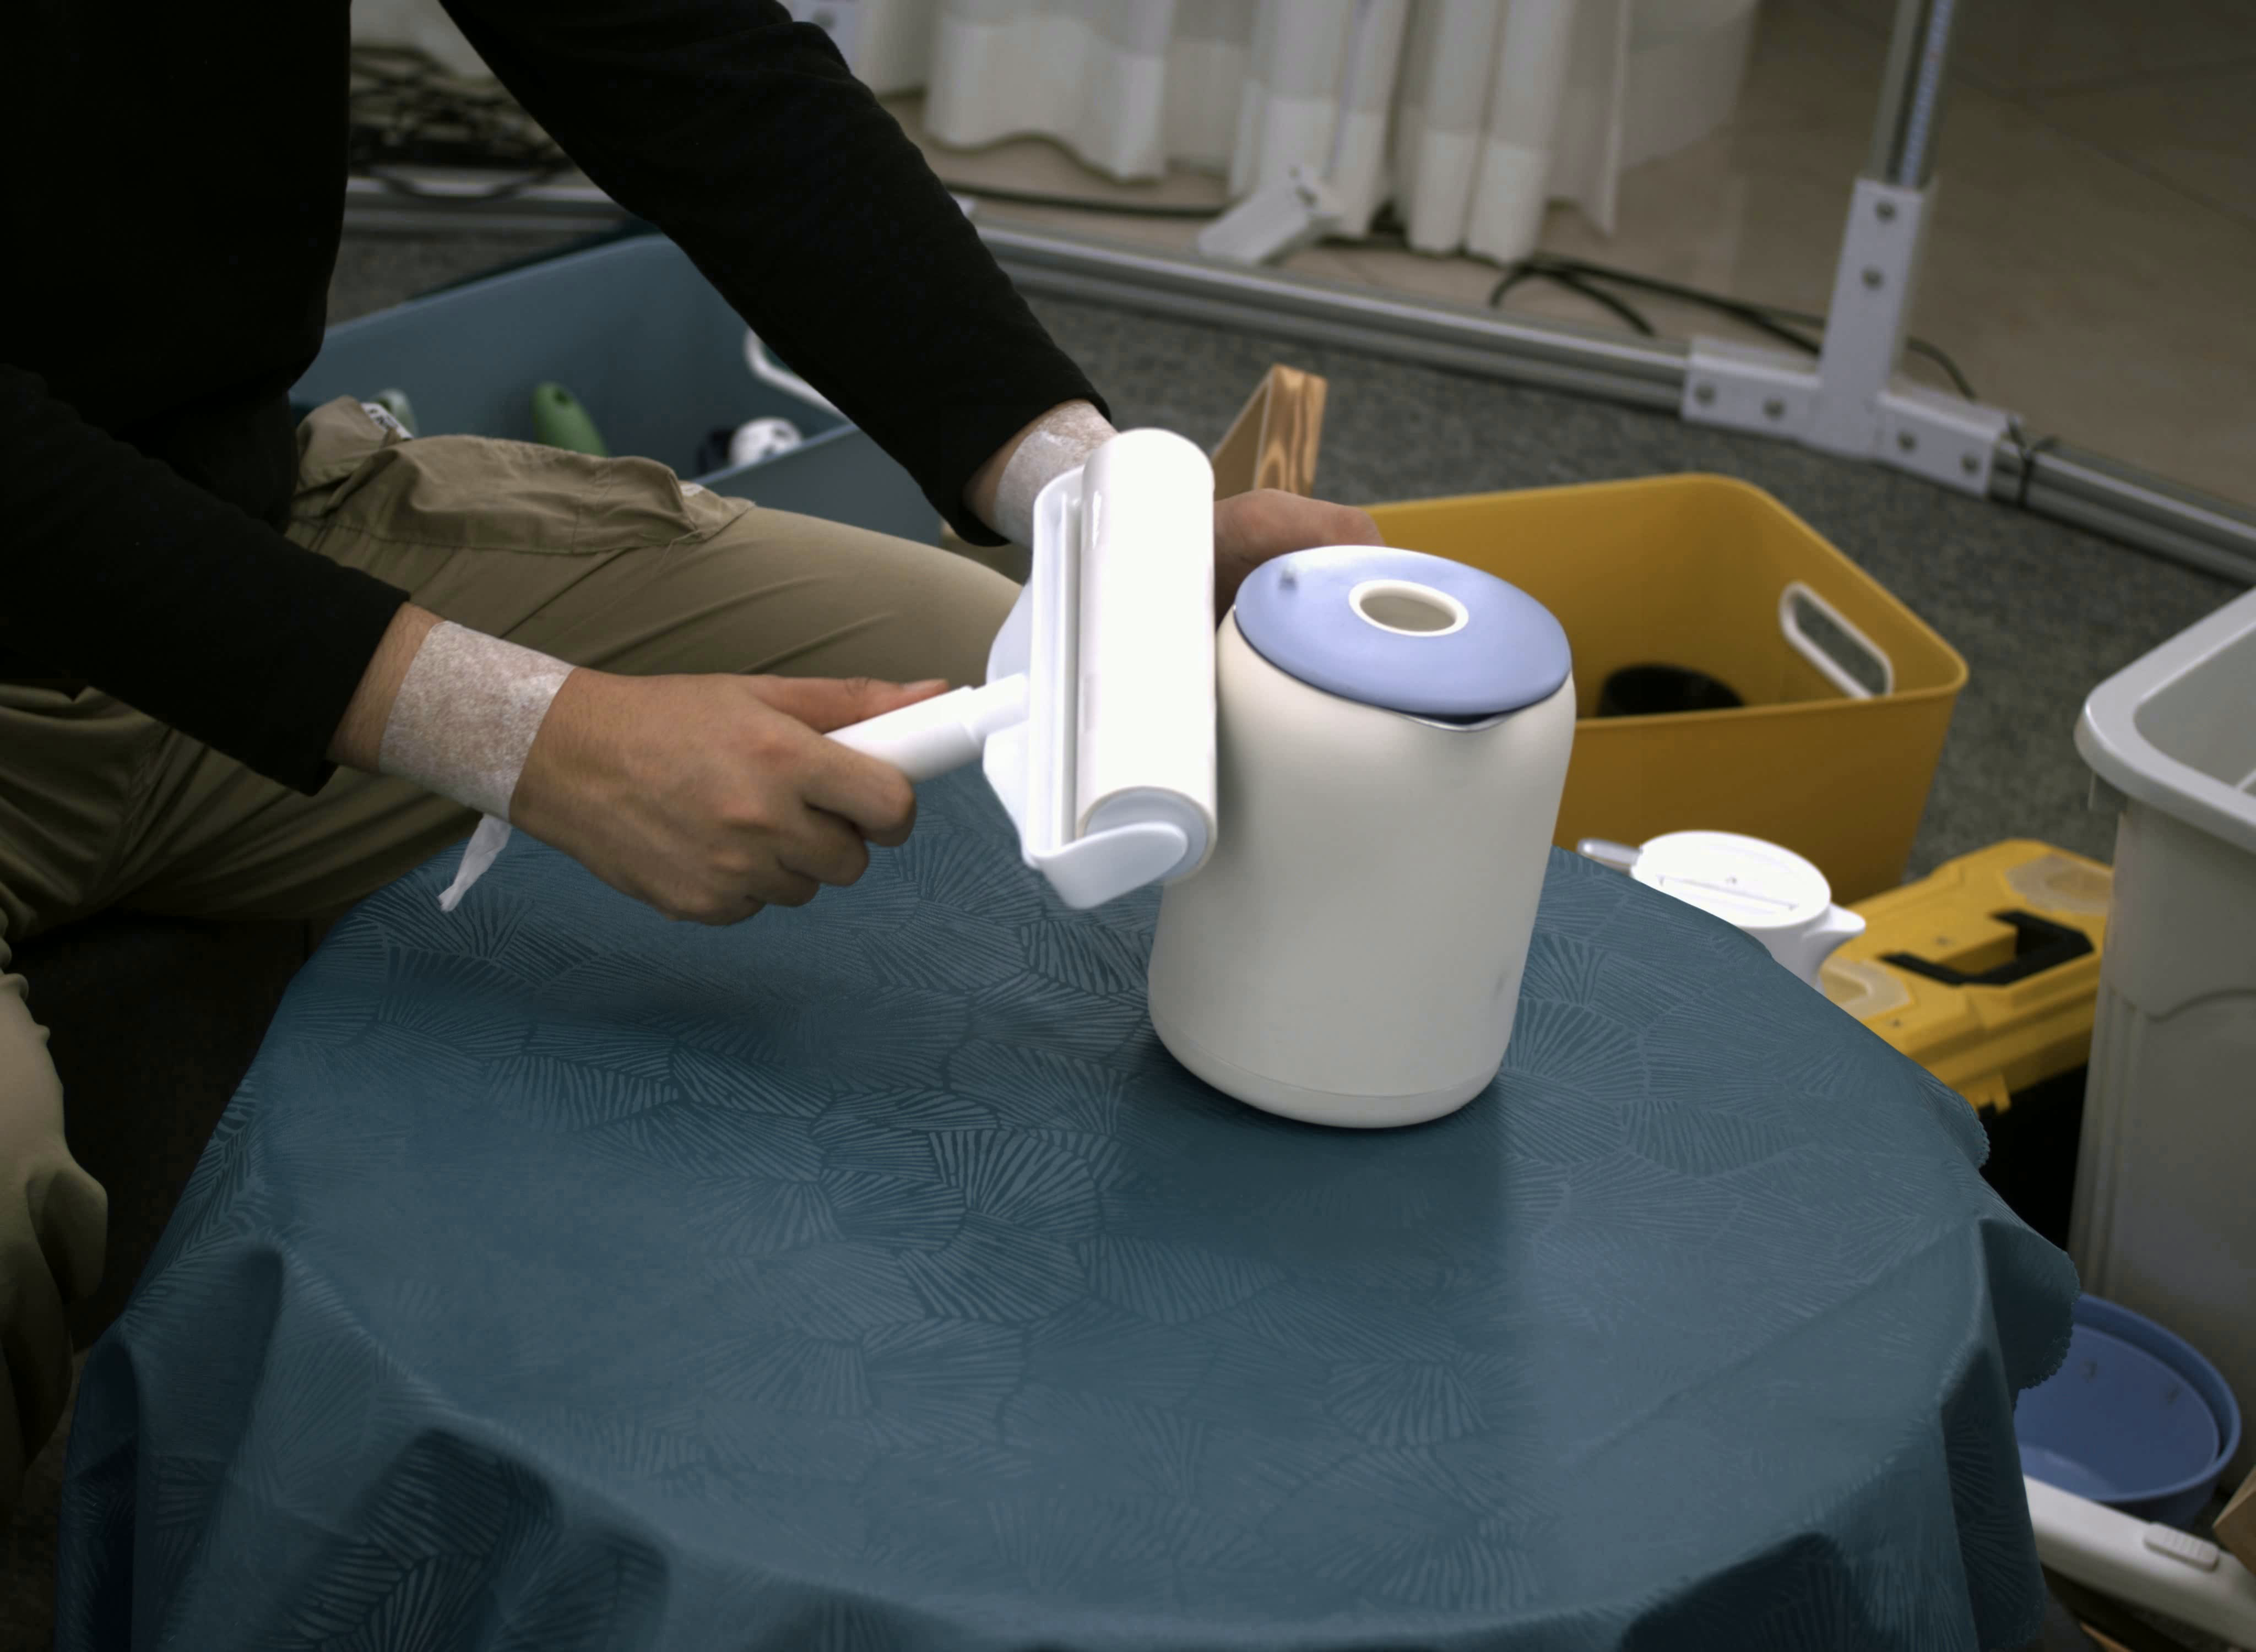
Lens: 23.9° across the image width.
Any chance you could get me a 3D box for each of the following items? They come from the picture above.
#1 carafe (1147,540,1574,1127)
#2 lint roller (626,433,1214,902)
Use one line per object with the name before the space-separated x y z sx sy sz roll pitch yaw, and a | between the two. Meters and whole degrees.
carafe | 0.074 -0.009 1.883 0.131 0.182 0.193 -1 27 -20
lint roller | -0.076 -0.034 1.843 0.225 0.048 0.204 -18 39 15
